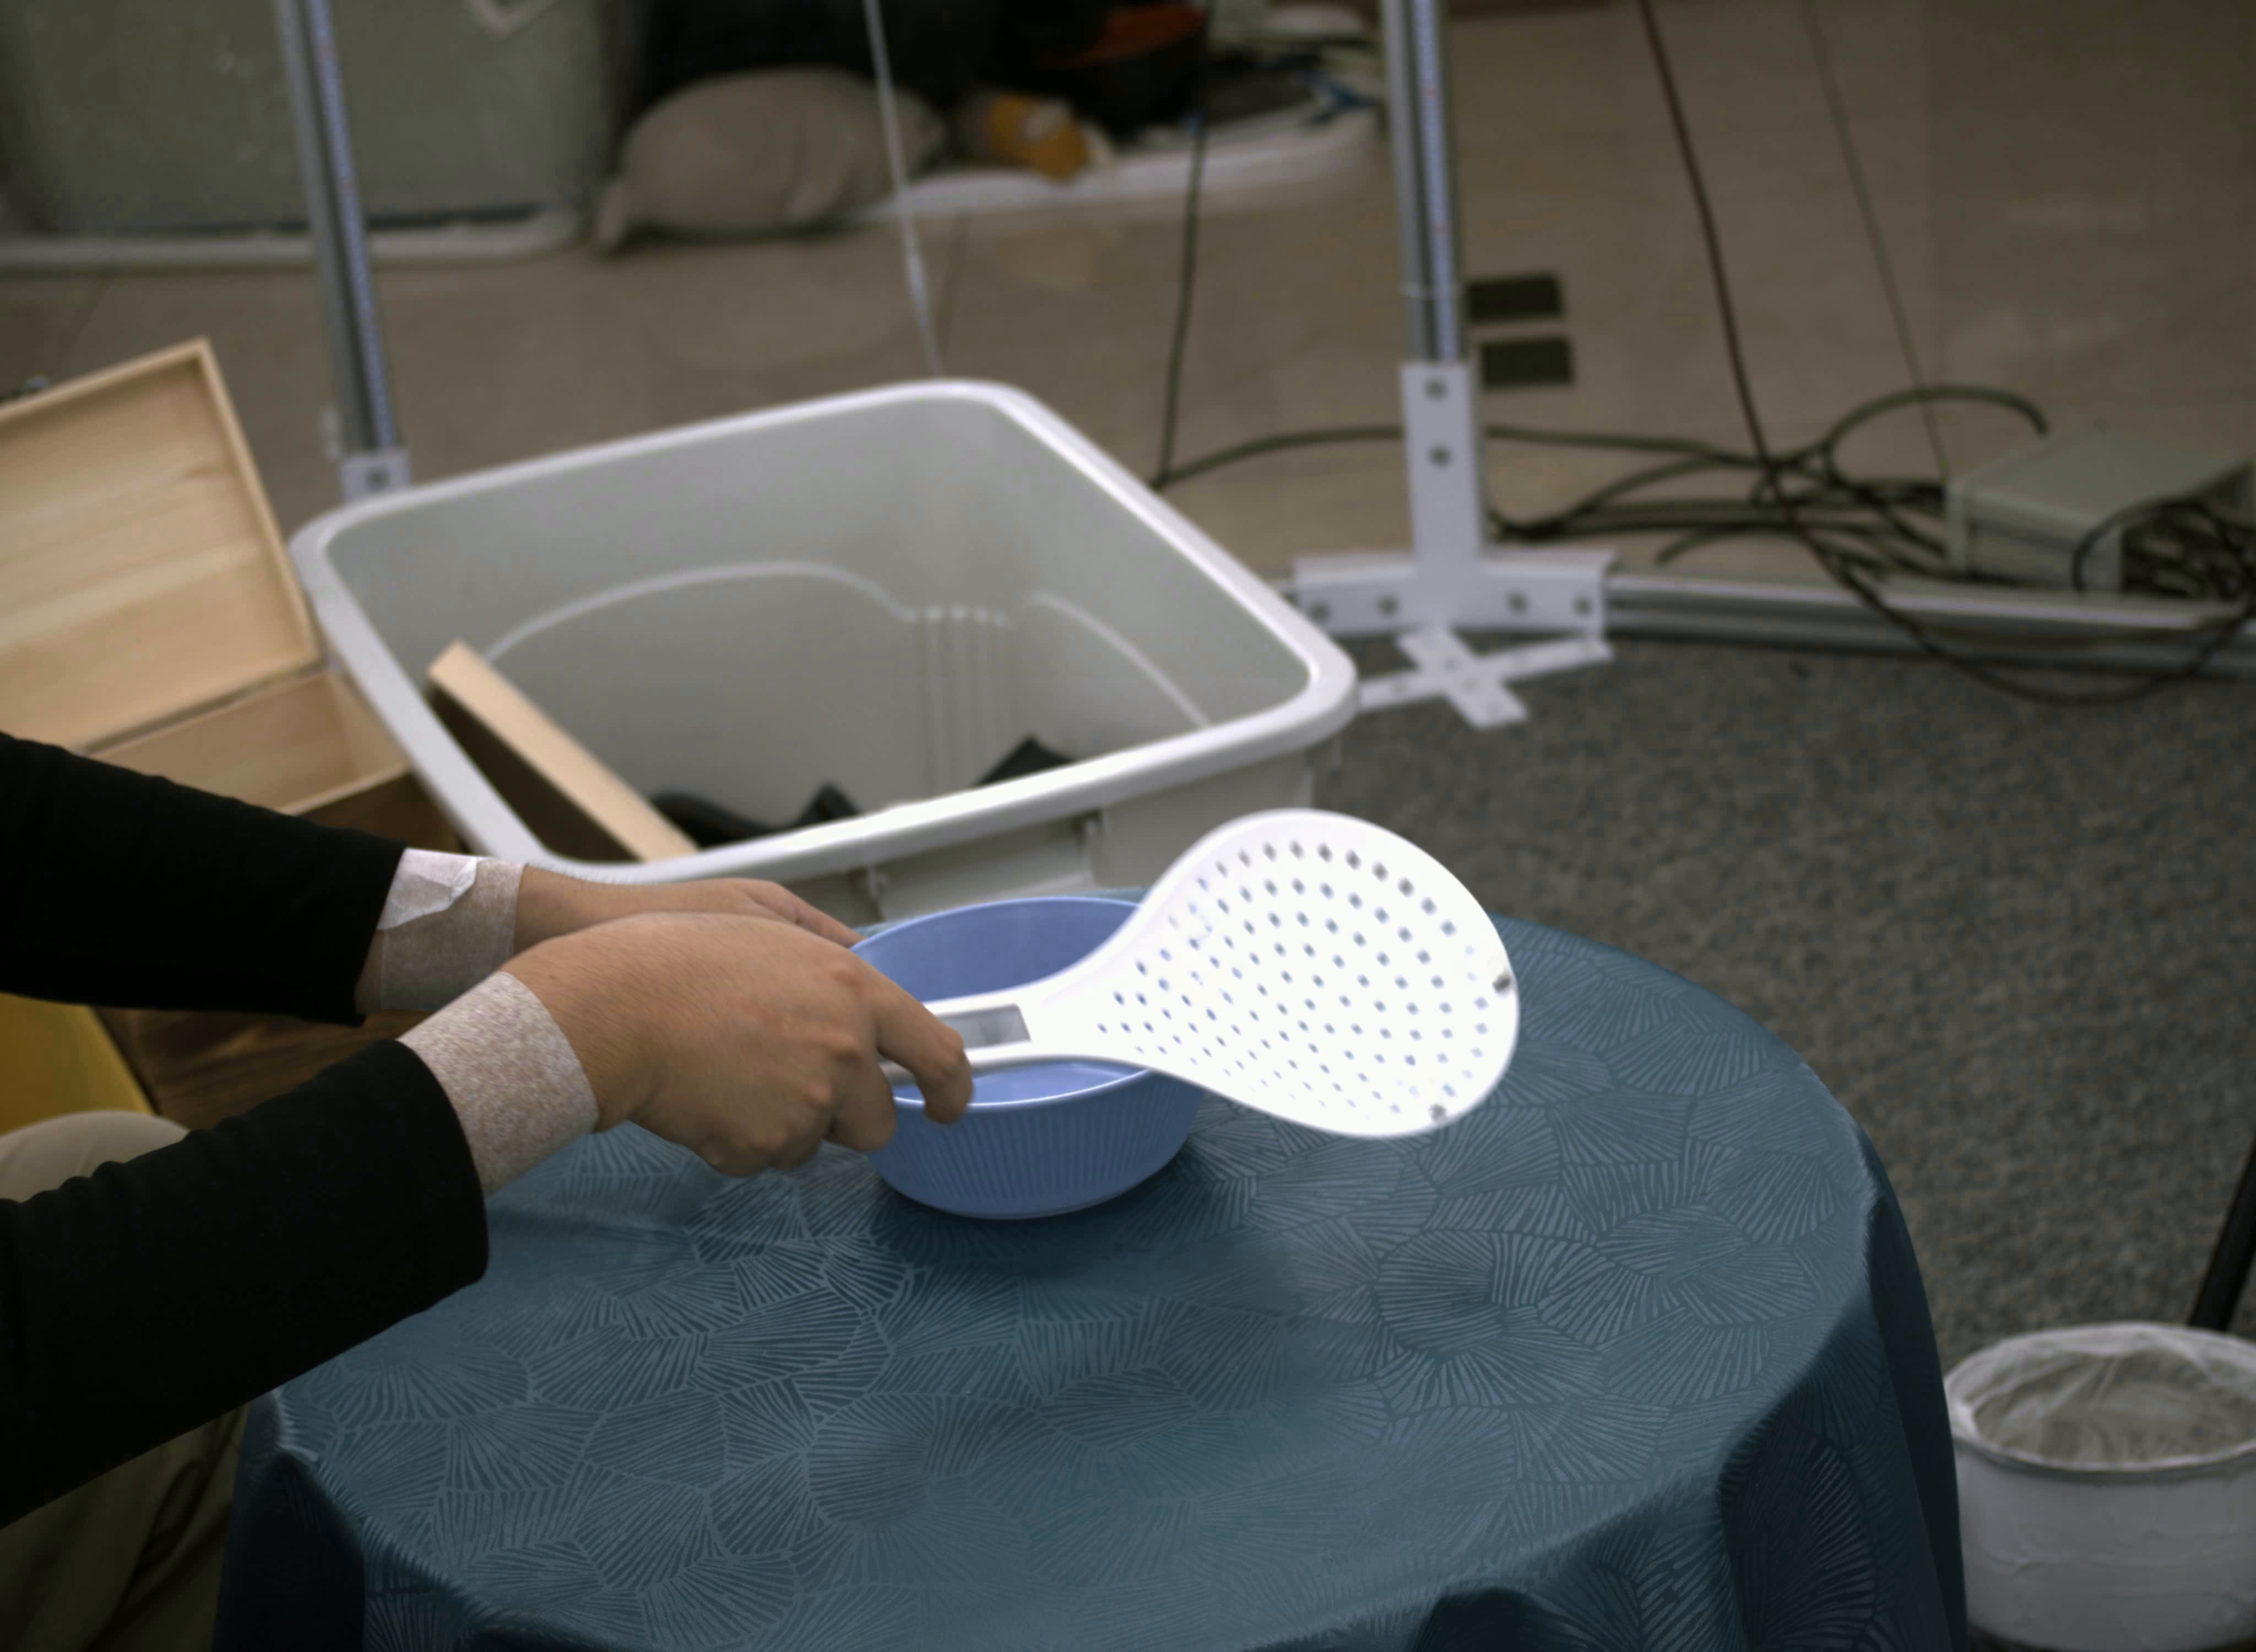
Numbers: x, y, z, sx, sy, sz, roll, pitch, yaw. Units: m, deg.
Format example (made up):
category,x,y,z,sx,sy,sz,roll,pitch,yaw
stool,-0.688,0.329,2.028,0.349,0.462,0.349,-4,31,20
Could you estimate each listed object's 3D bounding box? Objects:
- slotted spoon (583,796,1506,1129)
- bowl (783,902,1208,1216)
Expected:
category,x,y,z,sx,sy,sz,roll,pitch,yaw
slotted spoon,-0.026,0.066,1.985,0.349,0.046,0.134,-7,62,-30
bowl,-0.041,0.094,2.169,0.176,0.071,0.173,-6,24,3
